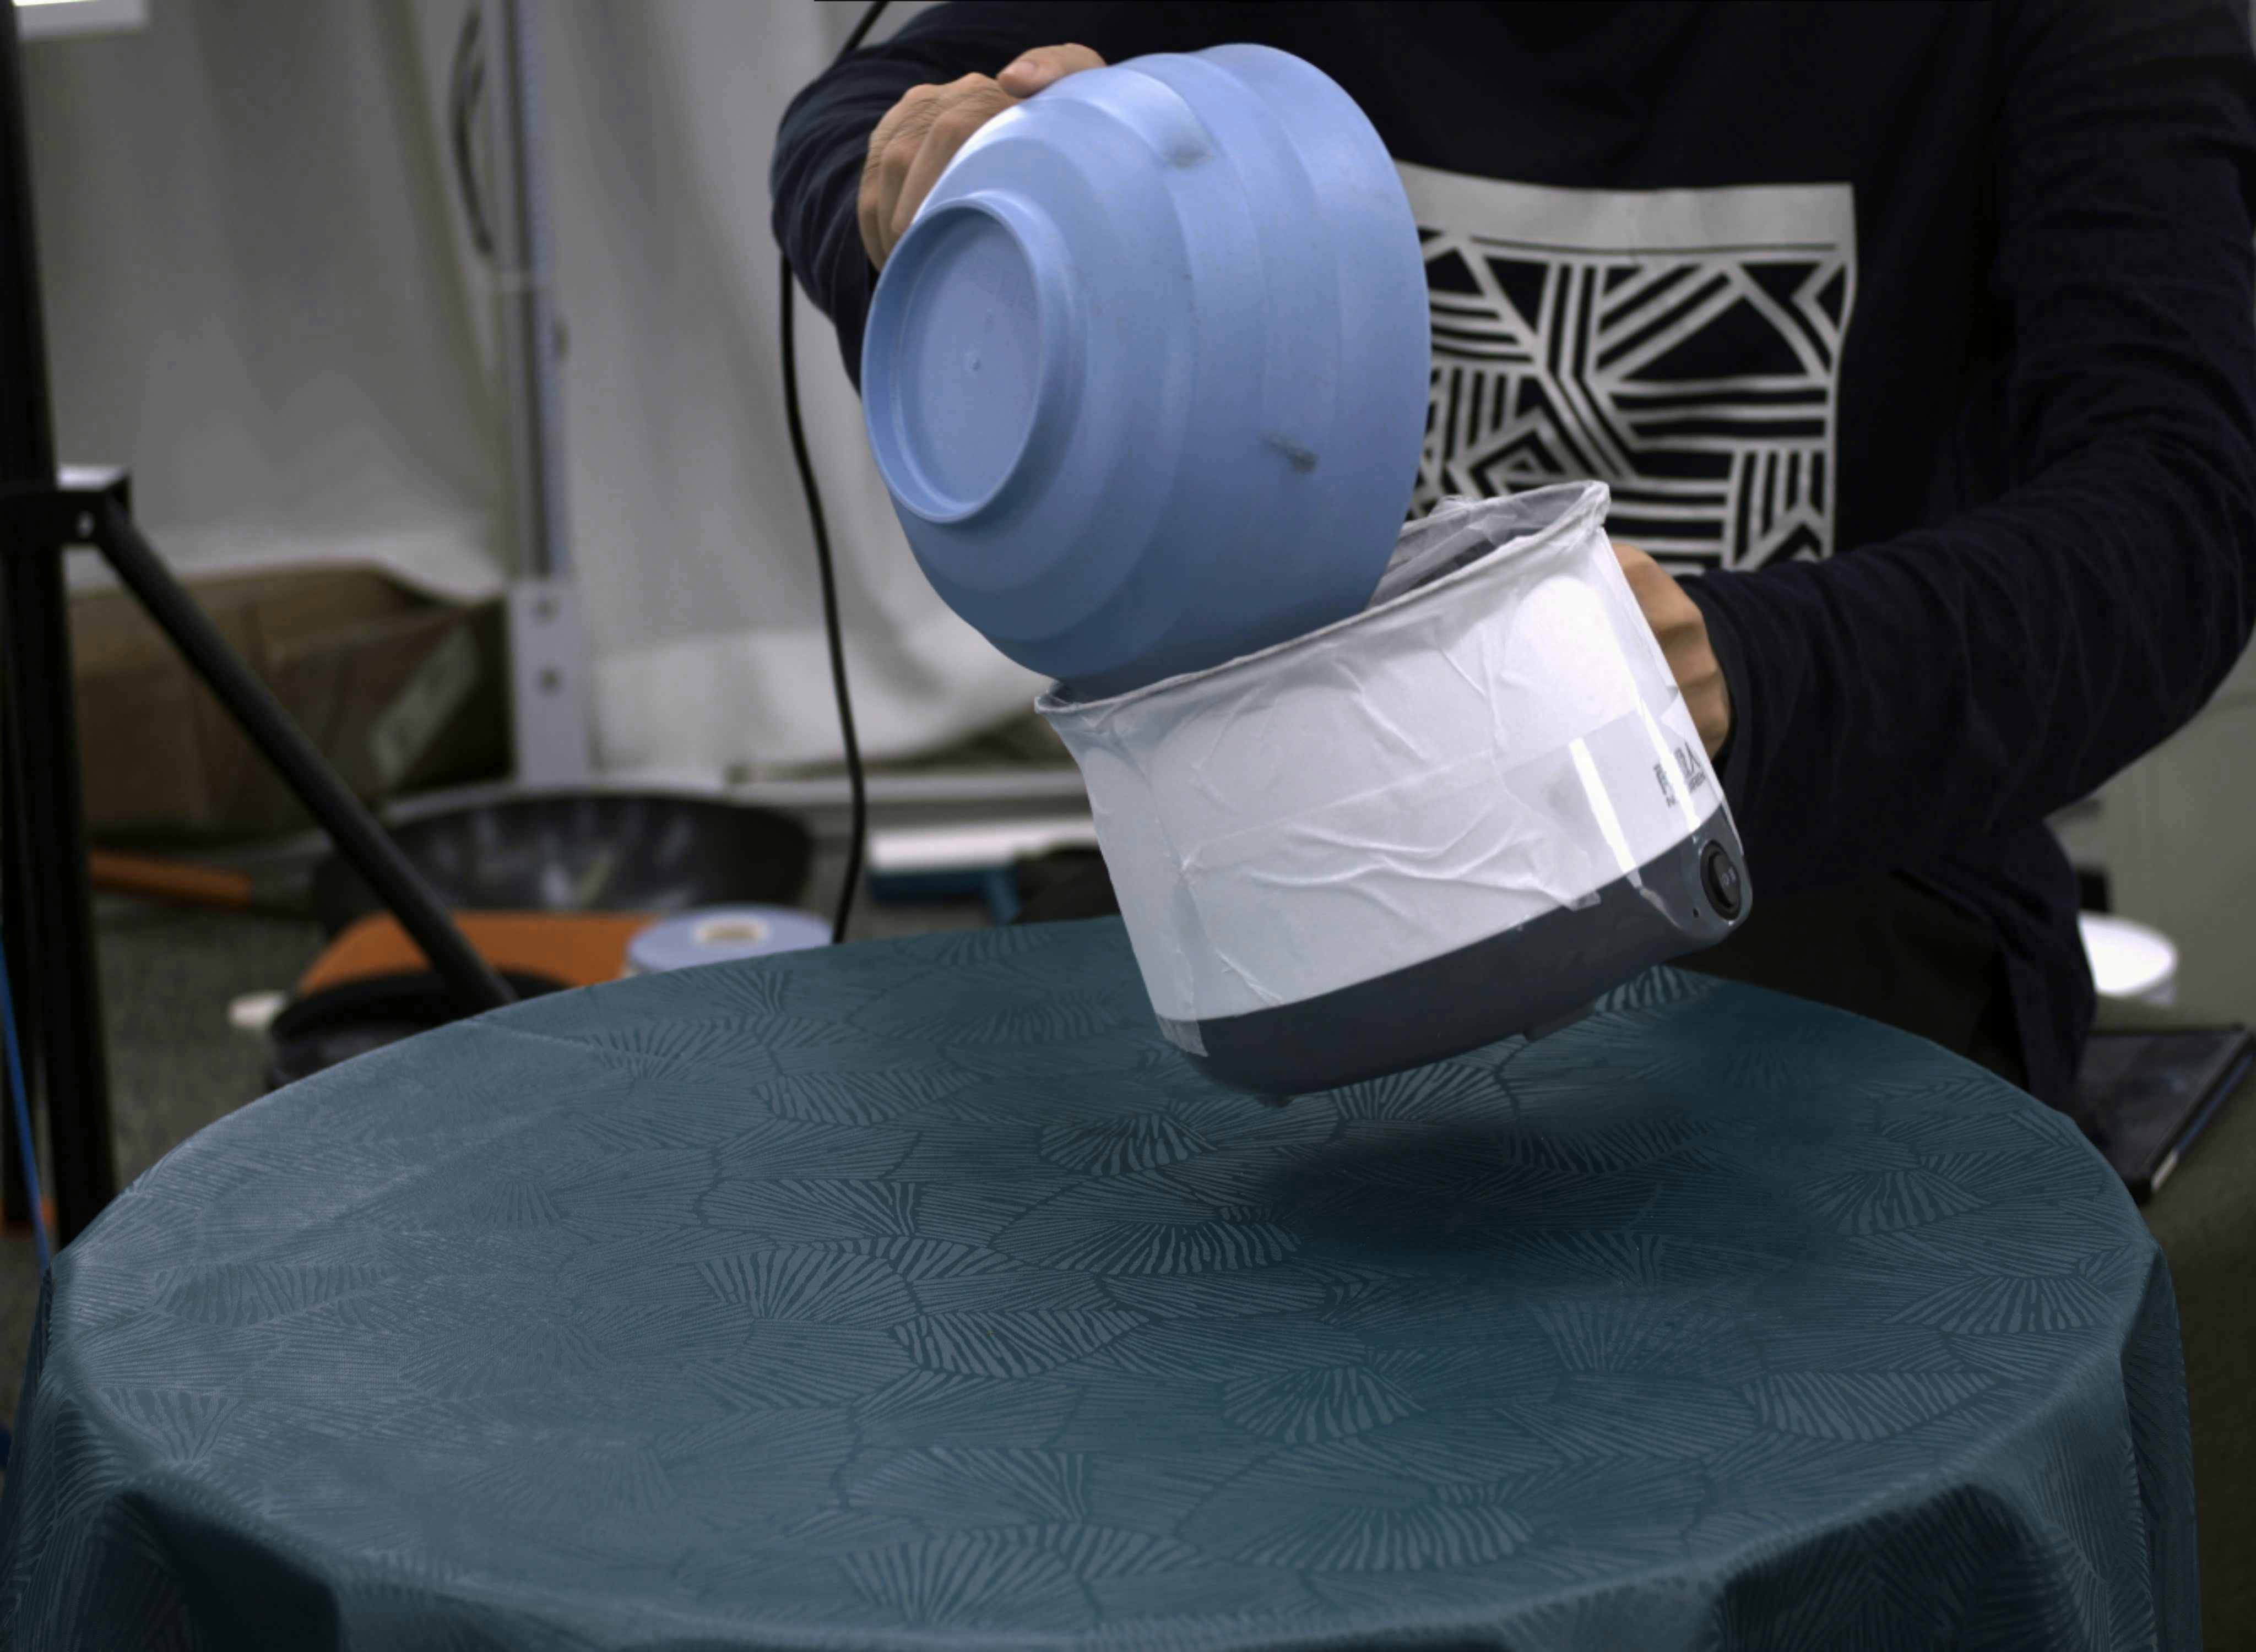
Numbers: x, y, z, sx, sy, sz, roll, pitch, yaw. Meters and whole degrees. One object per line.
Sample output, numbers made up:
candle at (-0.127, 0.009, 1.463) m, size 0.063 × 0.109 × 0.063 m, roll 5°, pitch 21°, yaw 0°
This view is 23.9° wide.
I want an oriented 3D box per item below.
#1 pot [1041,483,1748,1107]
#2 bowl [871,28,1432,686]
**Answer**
pot at (0.089, -0.016, 1.559) m, size 0.181 × 0.136 × 0.230 m, roll -14°, pitch 10°, yaw 29°
bowl at (-0.010, -0.129, 1.509) m, size 0.093 × 0.197 × 0.201 m, roll 1°, pitch 12°, yaw -32°
